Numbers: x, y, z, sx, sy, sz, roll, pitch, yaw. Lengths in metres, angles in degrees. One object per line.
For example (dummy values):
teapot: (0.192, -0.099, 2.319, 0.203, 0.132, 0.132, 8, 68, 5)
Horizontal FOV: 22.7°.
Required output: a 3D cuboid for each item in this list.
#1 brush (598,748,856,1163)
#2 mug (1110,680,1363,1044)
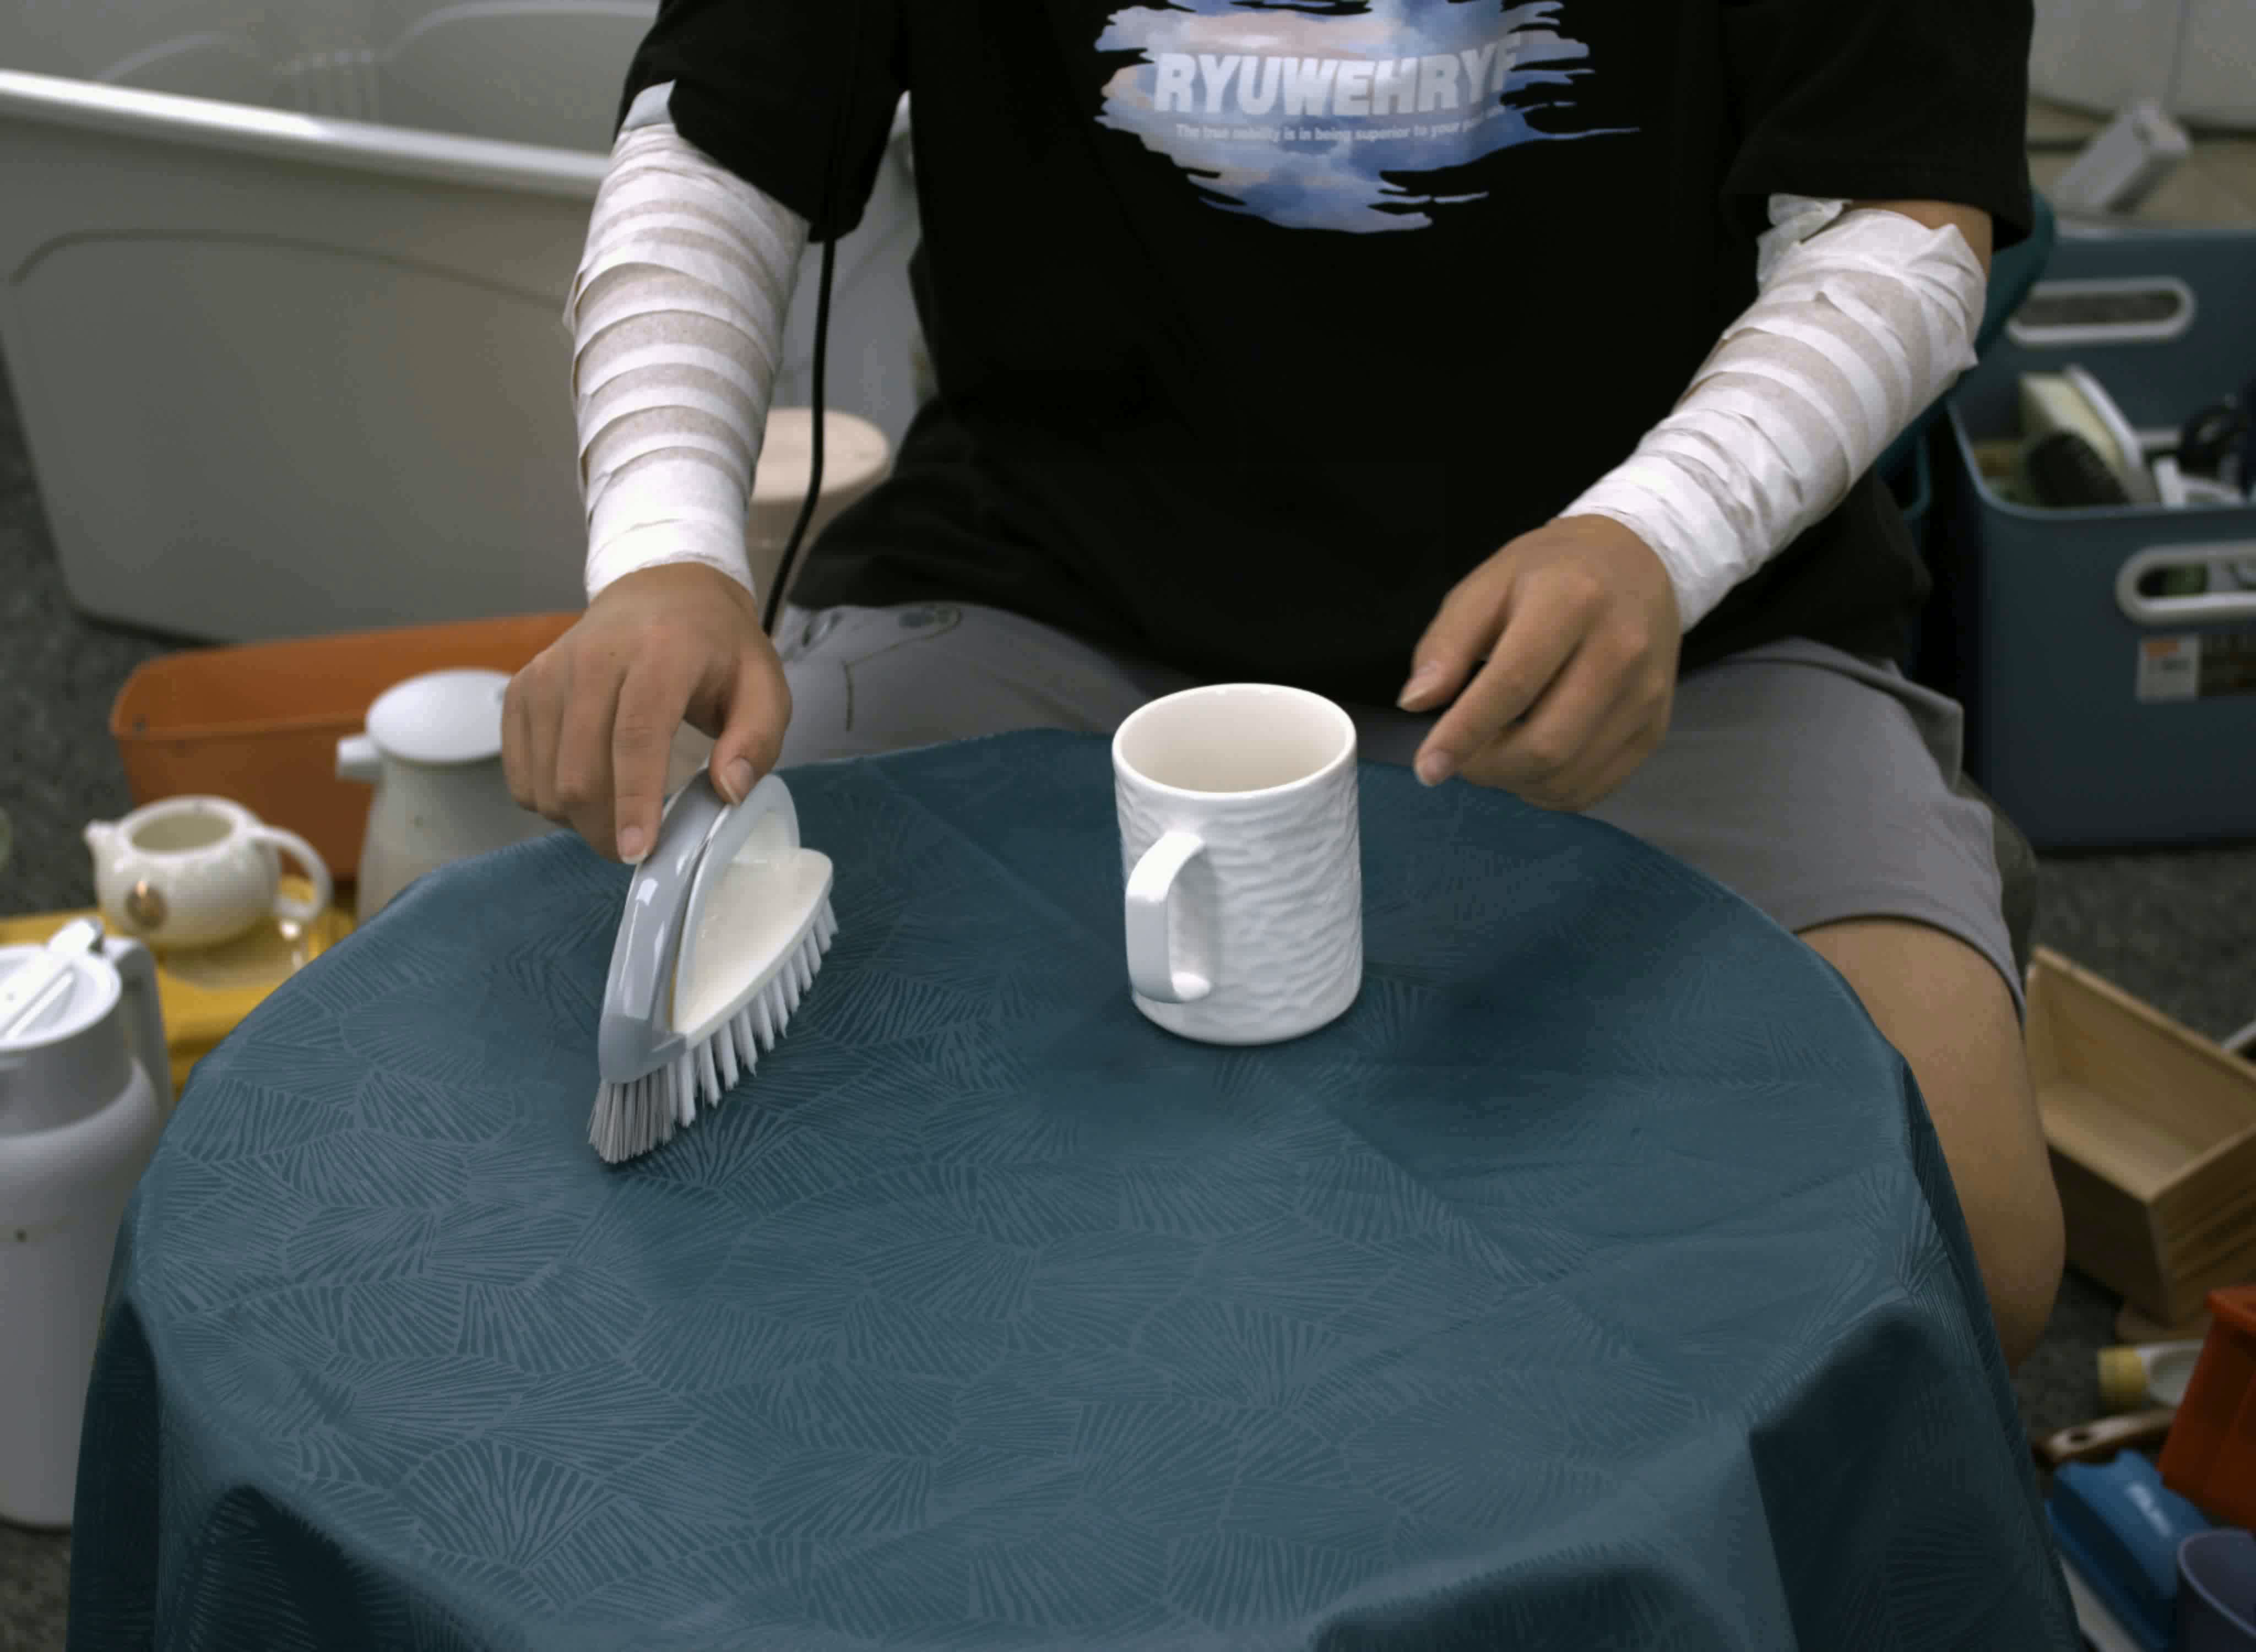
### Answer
brush: (-0.148, 0.037, 1.942, 0.061, 0.093, 0.178, 2, 29, 17)
mug: (0.032, 0.020, 1.943, 0.084, 0.101, 0.120, 10, 30, 24)
